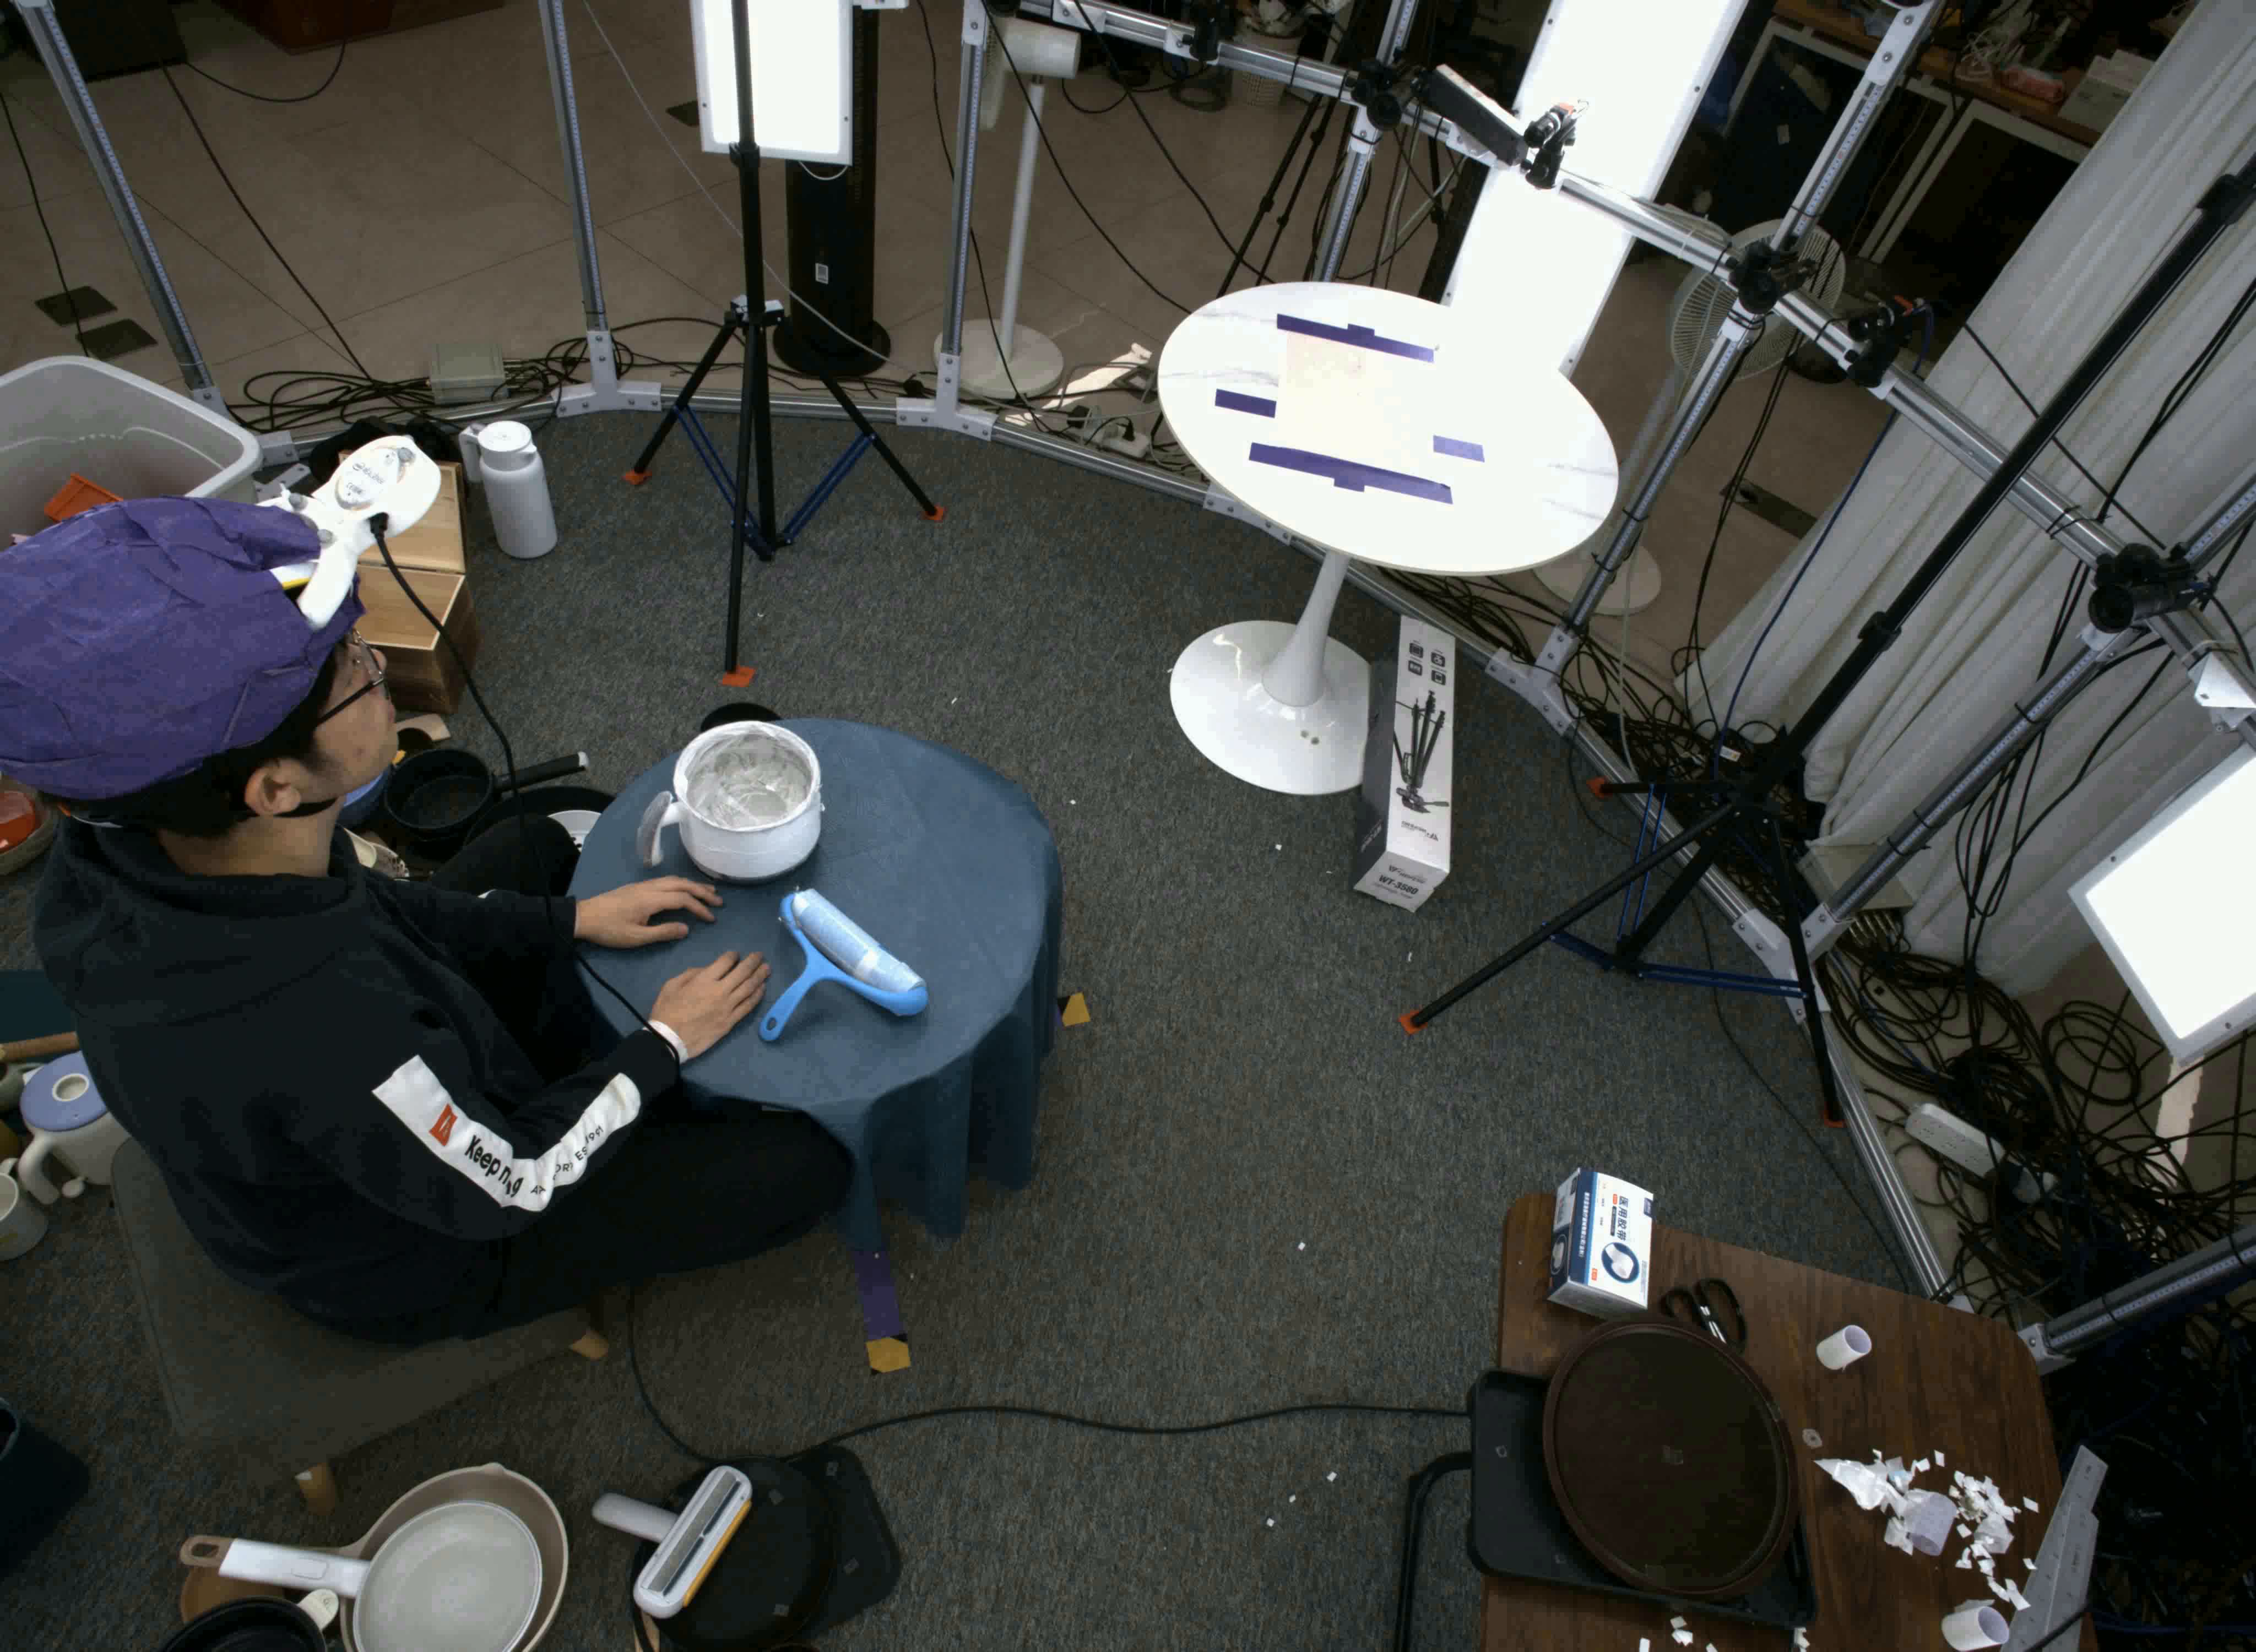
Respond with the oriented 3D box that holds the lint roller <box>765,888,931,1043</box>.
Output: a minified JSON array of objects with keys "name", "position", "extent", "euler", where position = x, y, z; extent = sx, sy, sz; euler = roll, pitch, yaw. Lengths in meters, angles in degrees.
[{"name":"lint roller","position":[-0.369,0.185,1.572],"extent":[0.225,0.069,0.180],"euler":[35,52,9]}]

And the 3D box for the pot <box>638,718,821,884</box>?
[{"name":"pot","position":[-0.505,-0.021,1.632],"extent":[0.235,0.139,0.174],"euler":[-18,59,-27]}]
